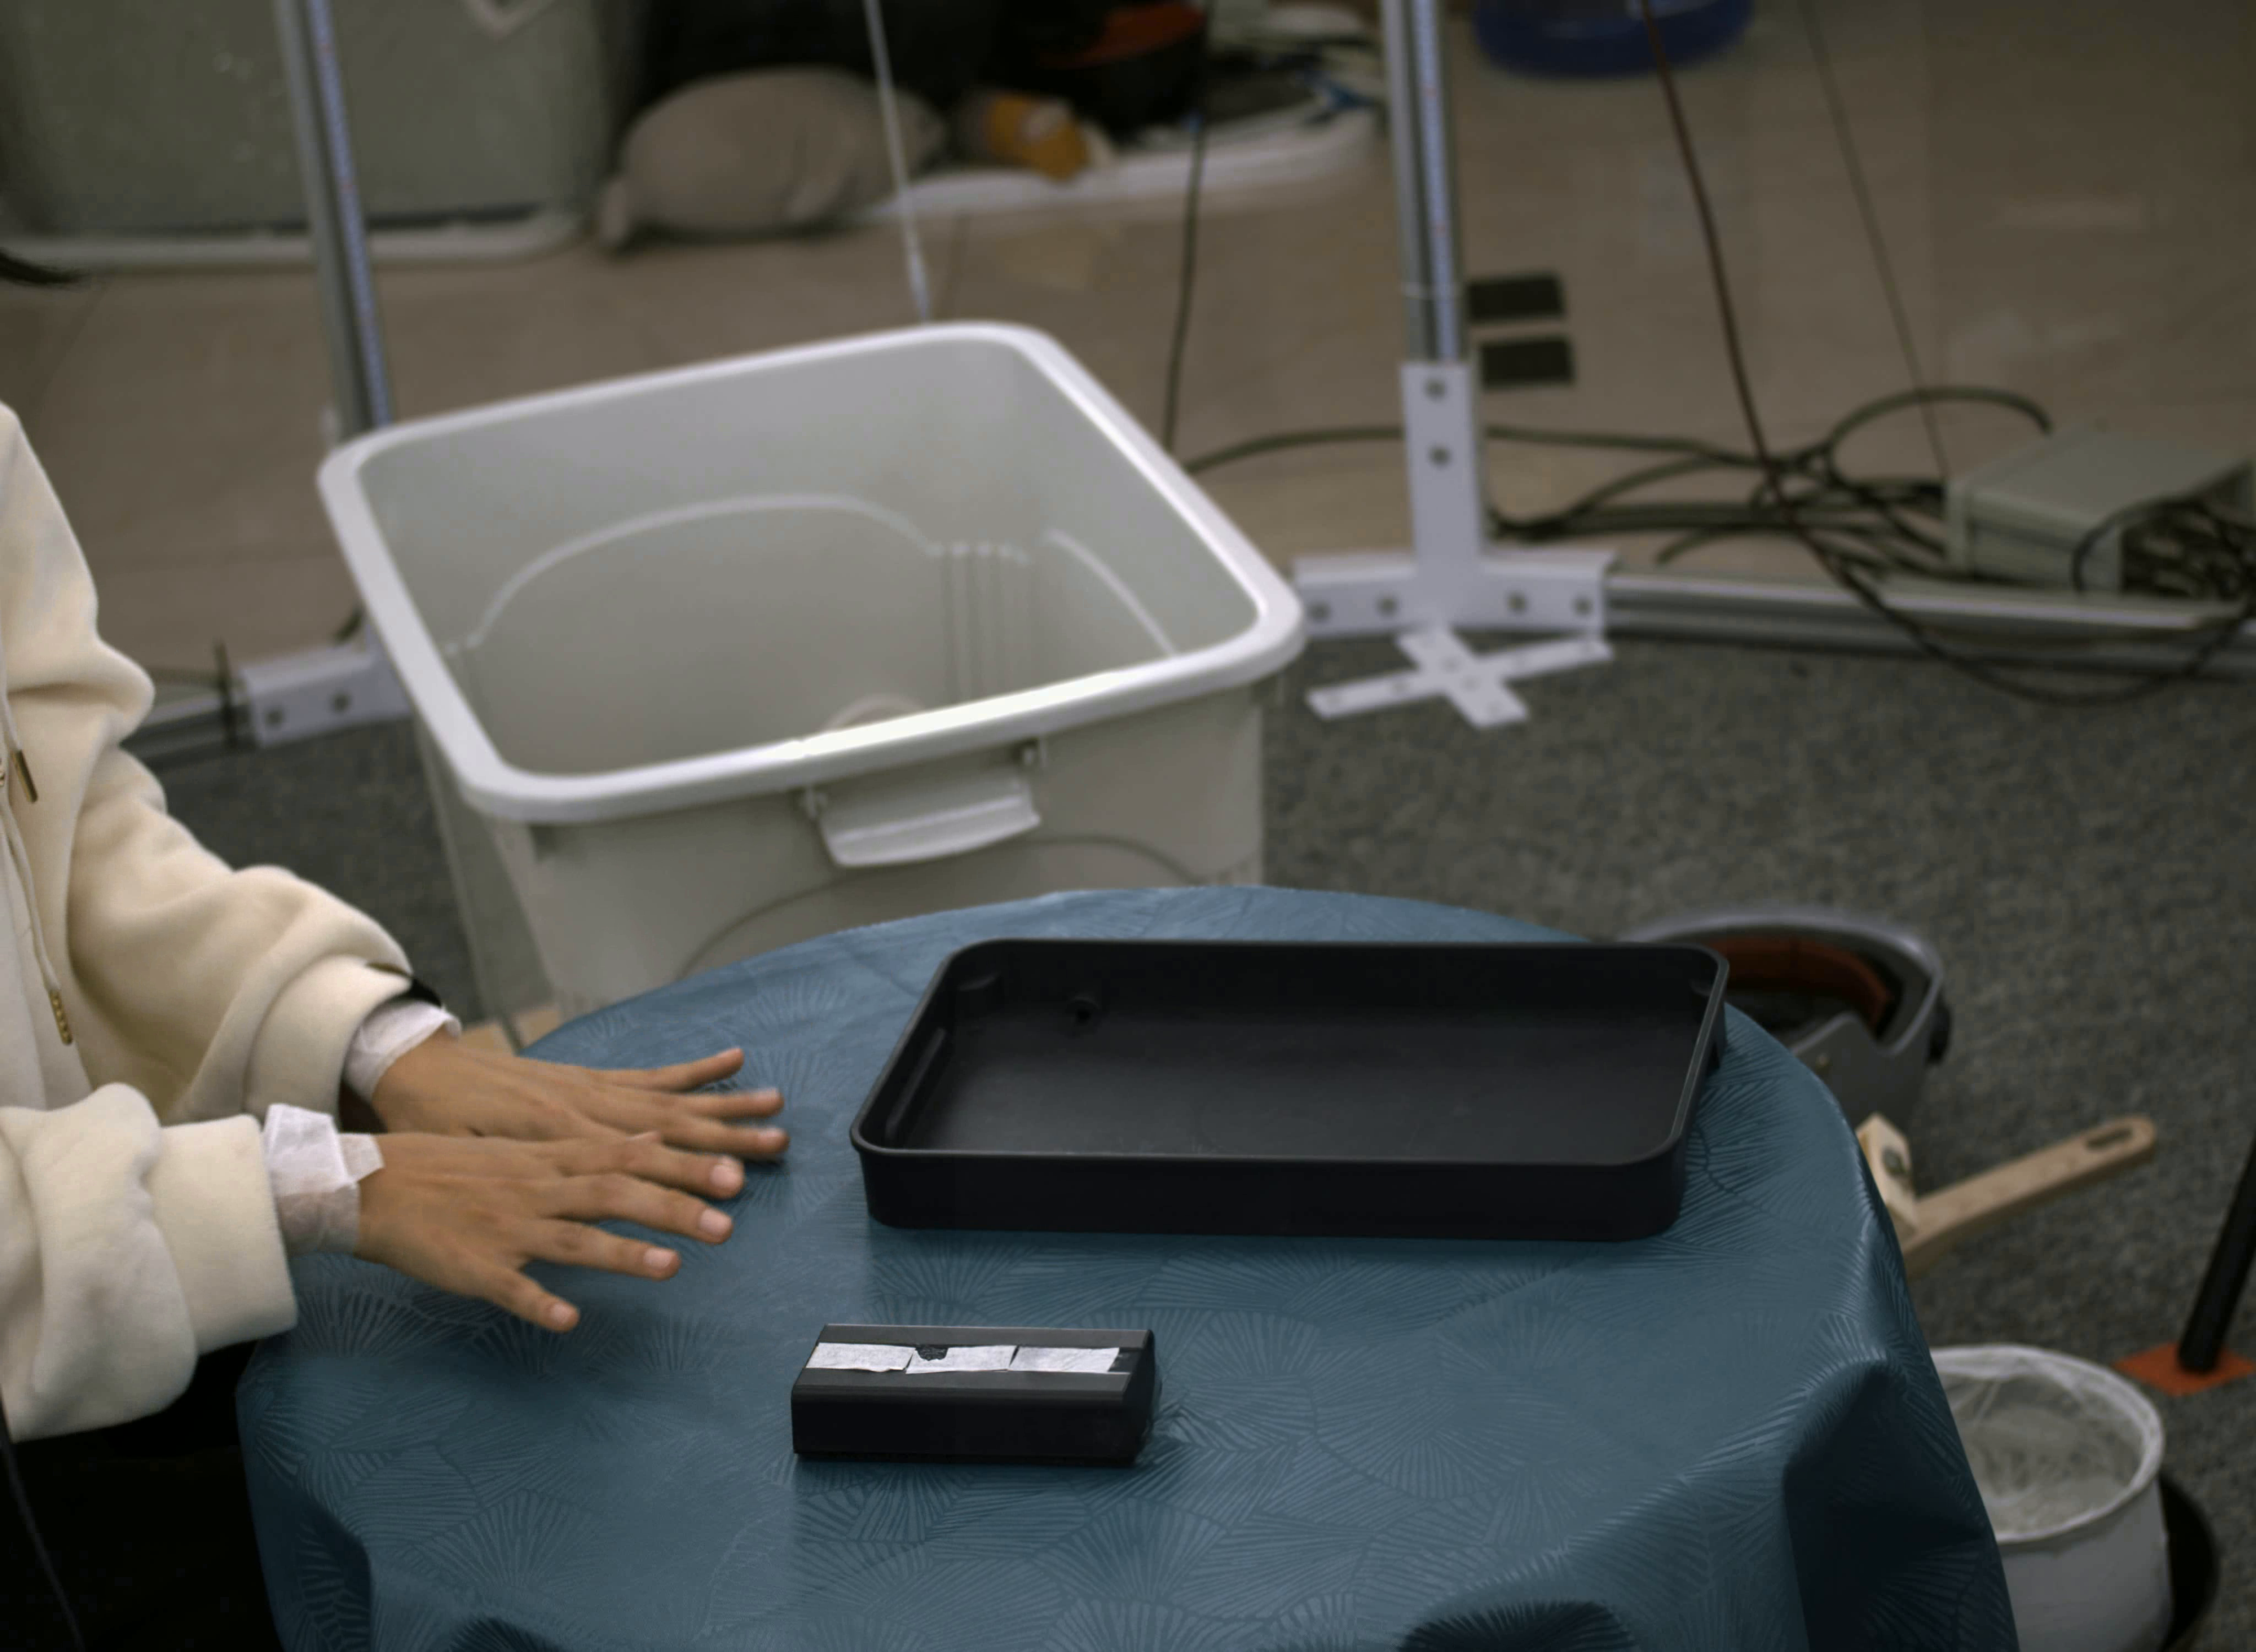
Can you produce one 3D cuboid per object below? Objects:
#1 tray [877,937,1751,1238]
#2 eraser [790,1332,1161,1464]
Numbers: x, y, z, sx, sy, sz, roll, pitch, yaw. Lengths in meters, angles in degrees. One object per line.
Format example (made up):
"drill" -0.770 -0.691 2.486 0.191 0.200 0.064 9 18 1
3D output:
"tray" 0.075 0.098 2.172 0.317 0.037 0.181 -1 25 11
"eraser" -0.052 0.200 1.996 0.125 0.031 0.053 -1 22 14
